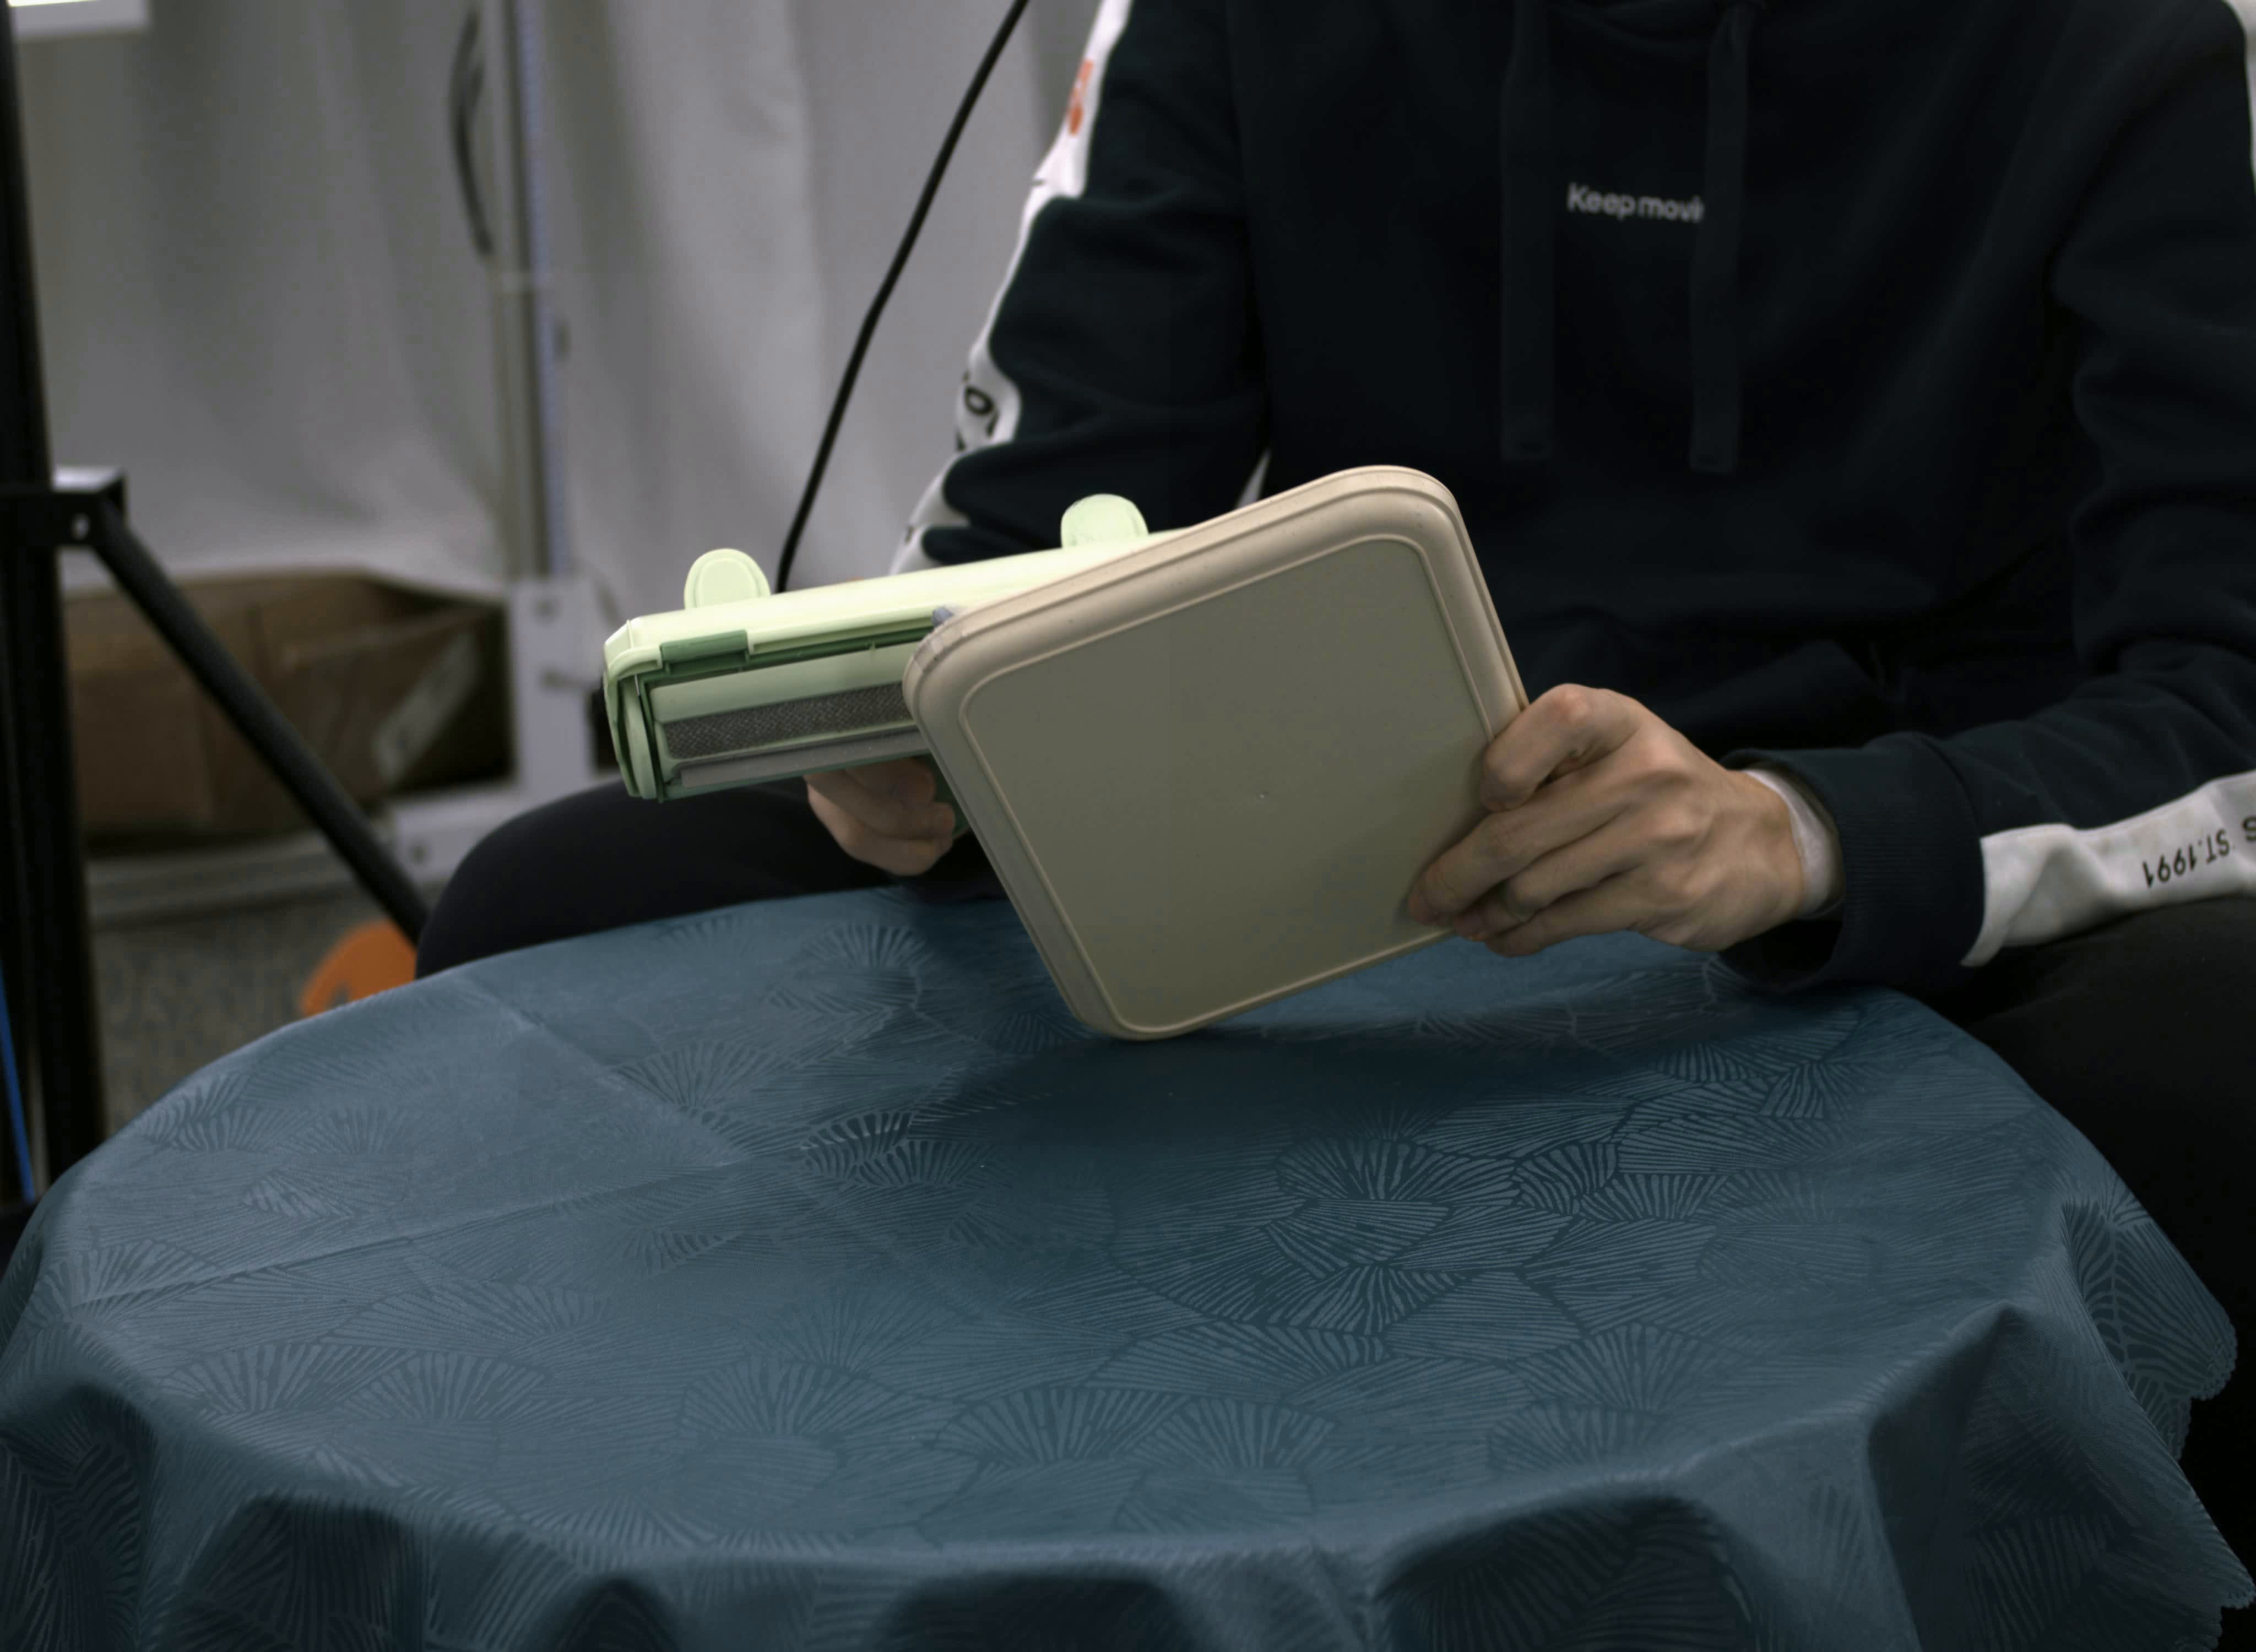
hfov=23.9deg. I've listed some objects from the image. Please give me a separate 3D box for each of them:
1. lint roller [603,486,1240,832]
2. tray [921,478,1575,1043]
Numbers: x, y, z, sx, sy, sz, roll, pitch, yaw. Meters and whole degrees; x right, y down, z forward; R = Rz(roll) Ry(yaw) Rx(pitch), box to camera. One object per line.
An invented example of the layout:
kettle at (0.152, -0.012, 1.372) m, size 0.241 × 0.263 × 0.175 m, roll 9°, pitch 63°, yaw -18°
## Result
lint roller at (-0.063, -0.048, 1.656) m, size 0.197 × 0.083 × 0.183 m, roll -10°, pitch -6°, yaw -4°
tray at (0.042, -0.012, 1.595) m, size 0.171 × 0.236 × 0.018 m, roll -19°, pitch 56°, yaw 5°
